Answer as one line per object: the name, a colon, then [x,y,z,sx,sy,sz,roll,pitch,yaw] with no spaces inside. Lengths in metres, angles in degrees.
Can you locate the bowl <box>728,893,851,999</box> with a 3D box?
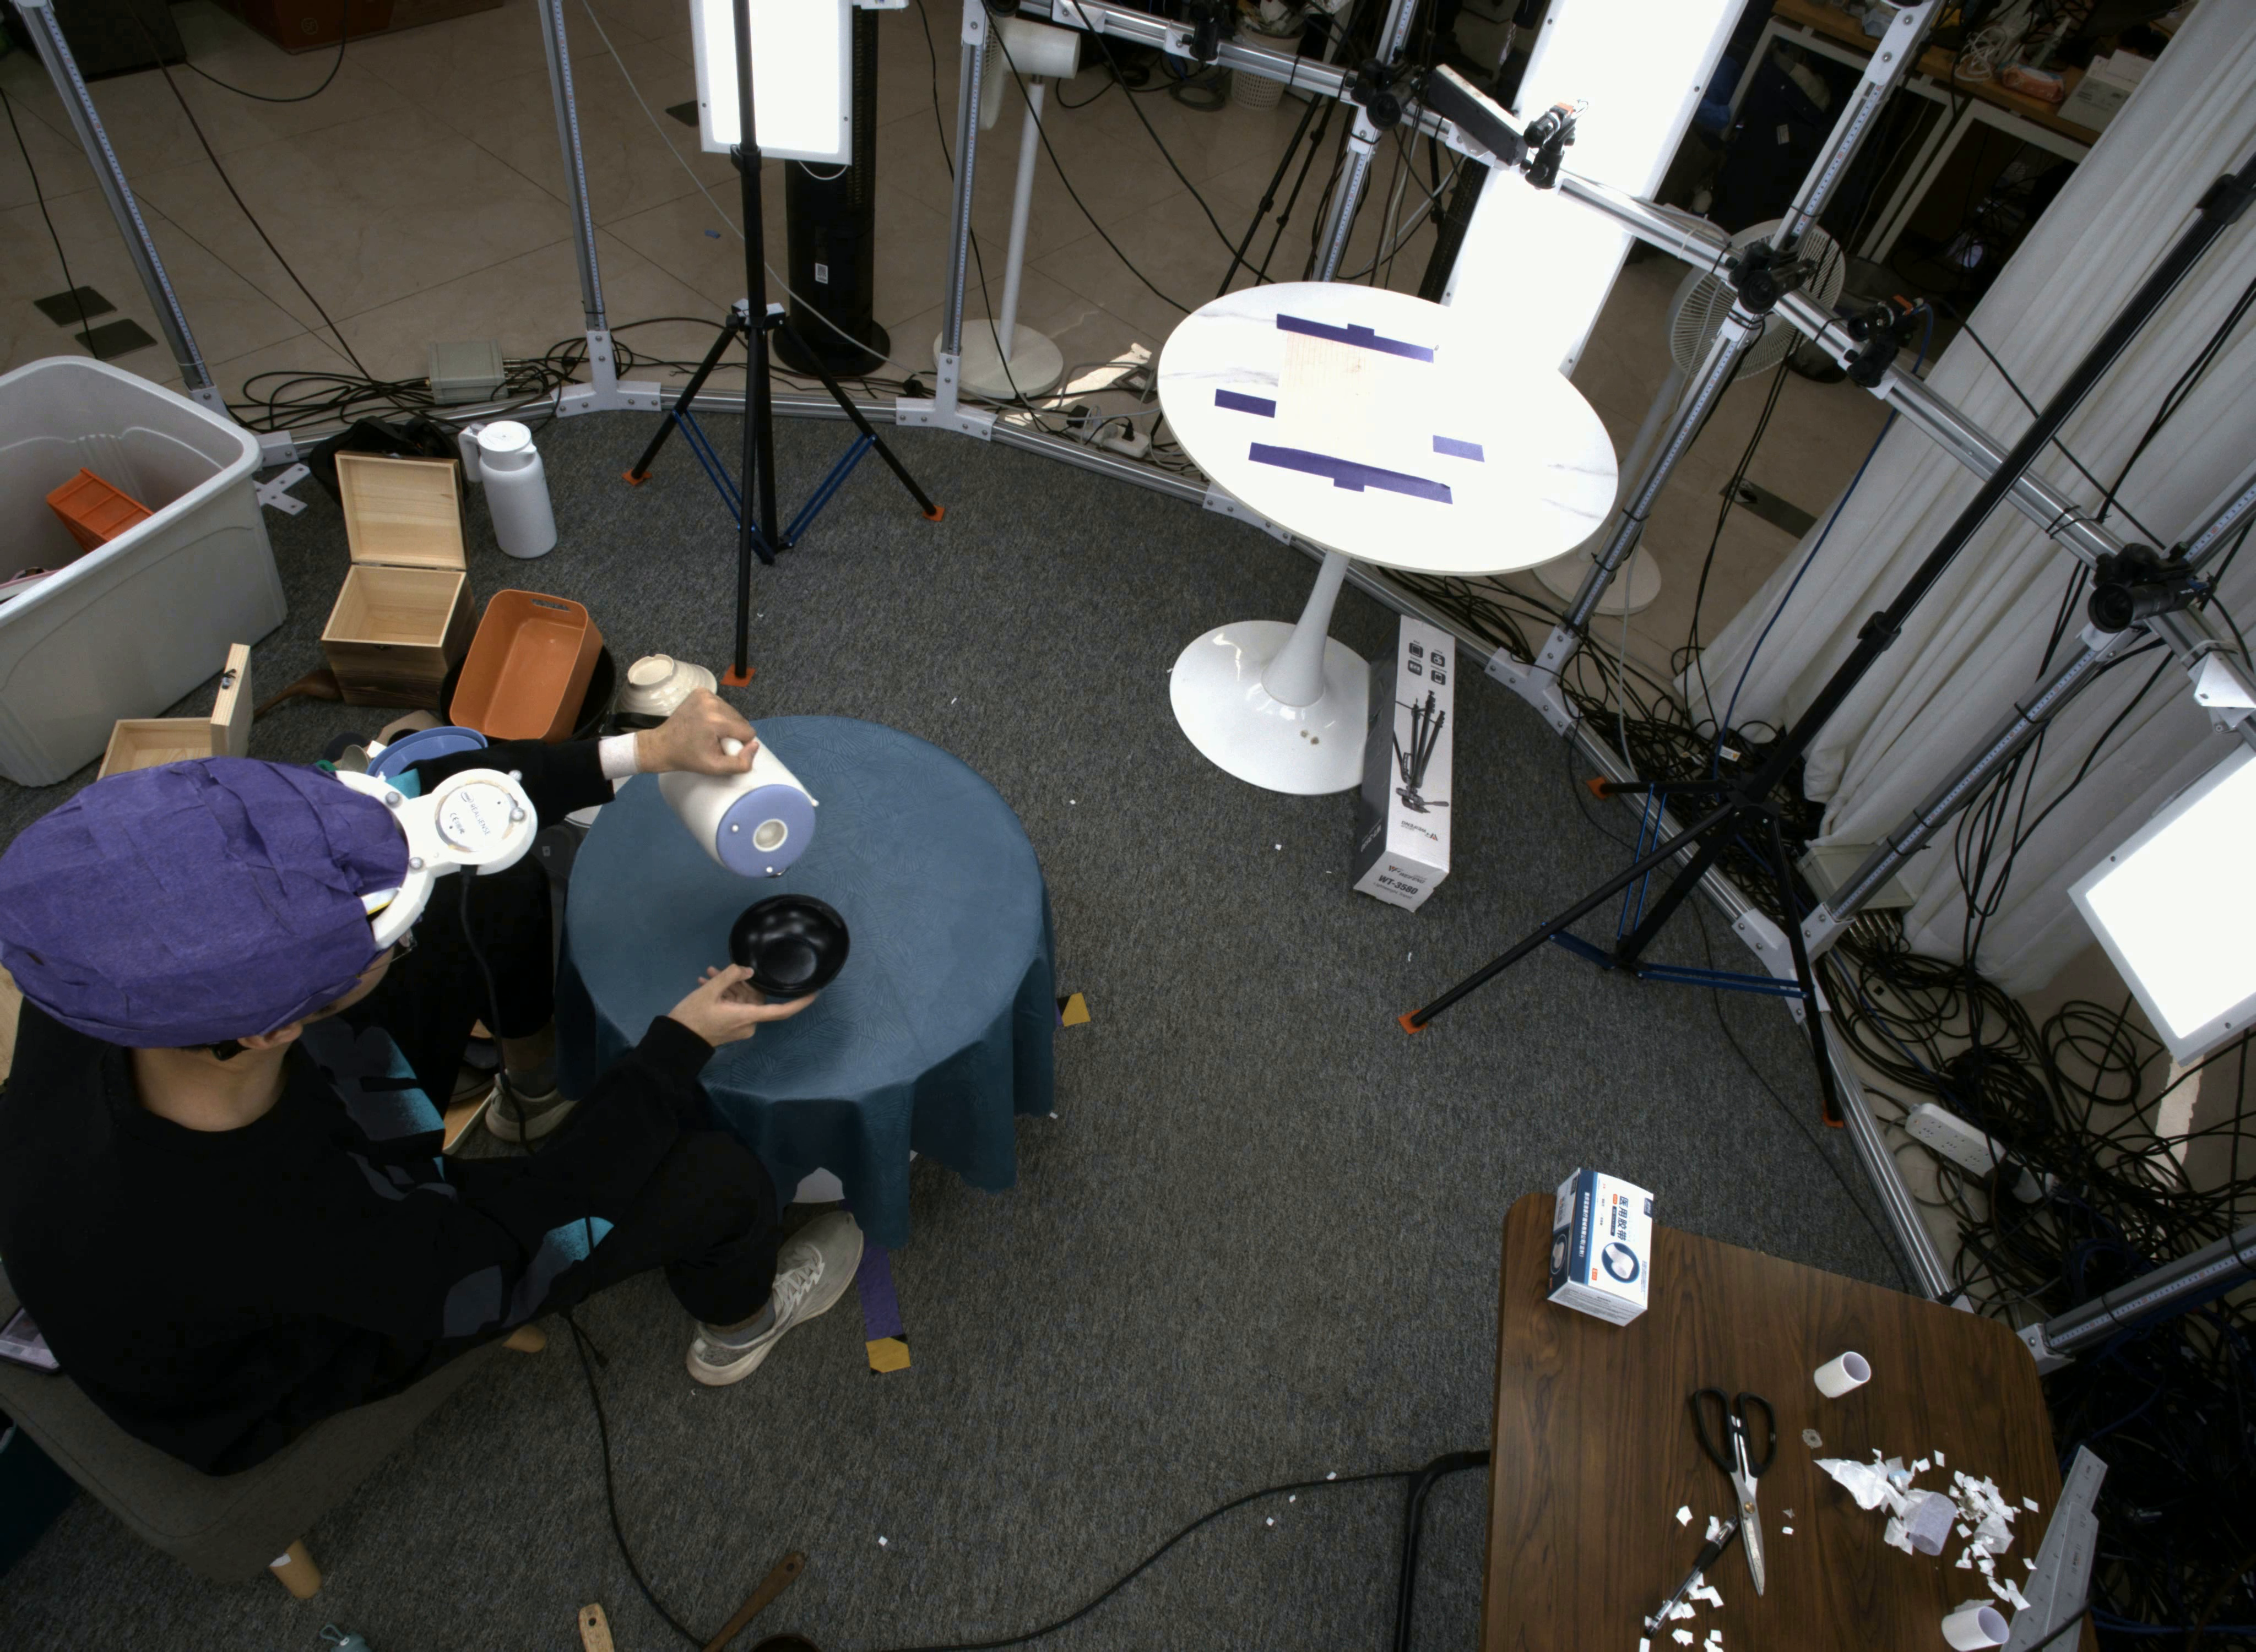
bowl: [-0.397,0.147,1.525,0.140,0.051,0.137,8,52,-8]

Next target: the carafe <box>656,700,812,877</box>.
carafe: [-0.460,-0.055,1.481,0.132,0.198,0.175,-32,44,-25]
